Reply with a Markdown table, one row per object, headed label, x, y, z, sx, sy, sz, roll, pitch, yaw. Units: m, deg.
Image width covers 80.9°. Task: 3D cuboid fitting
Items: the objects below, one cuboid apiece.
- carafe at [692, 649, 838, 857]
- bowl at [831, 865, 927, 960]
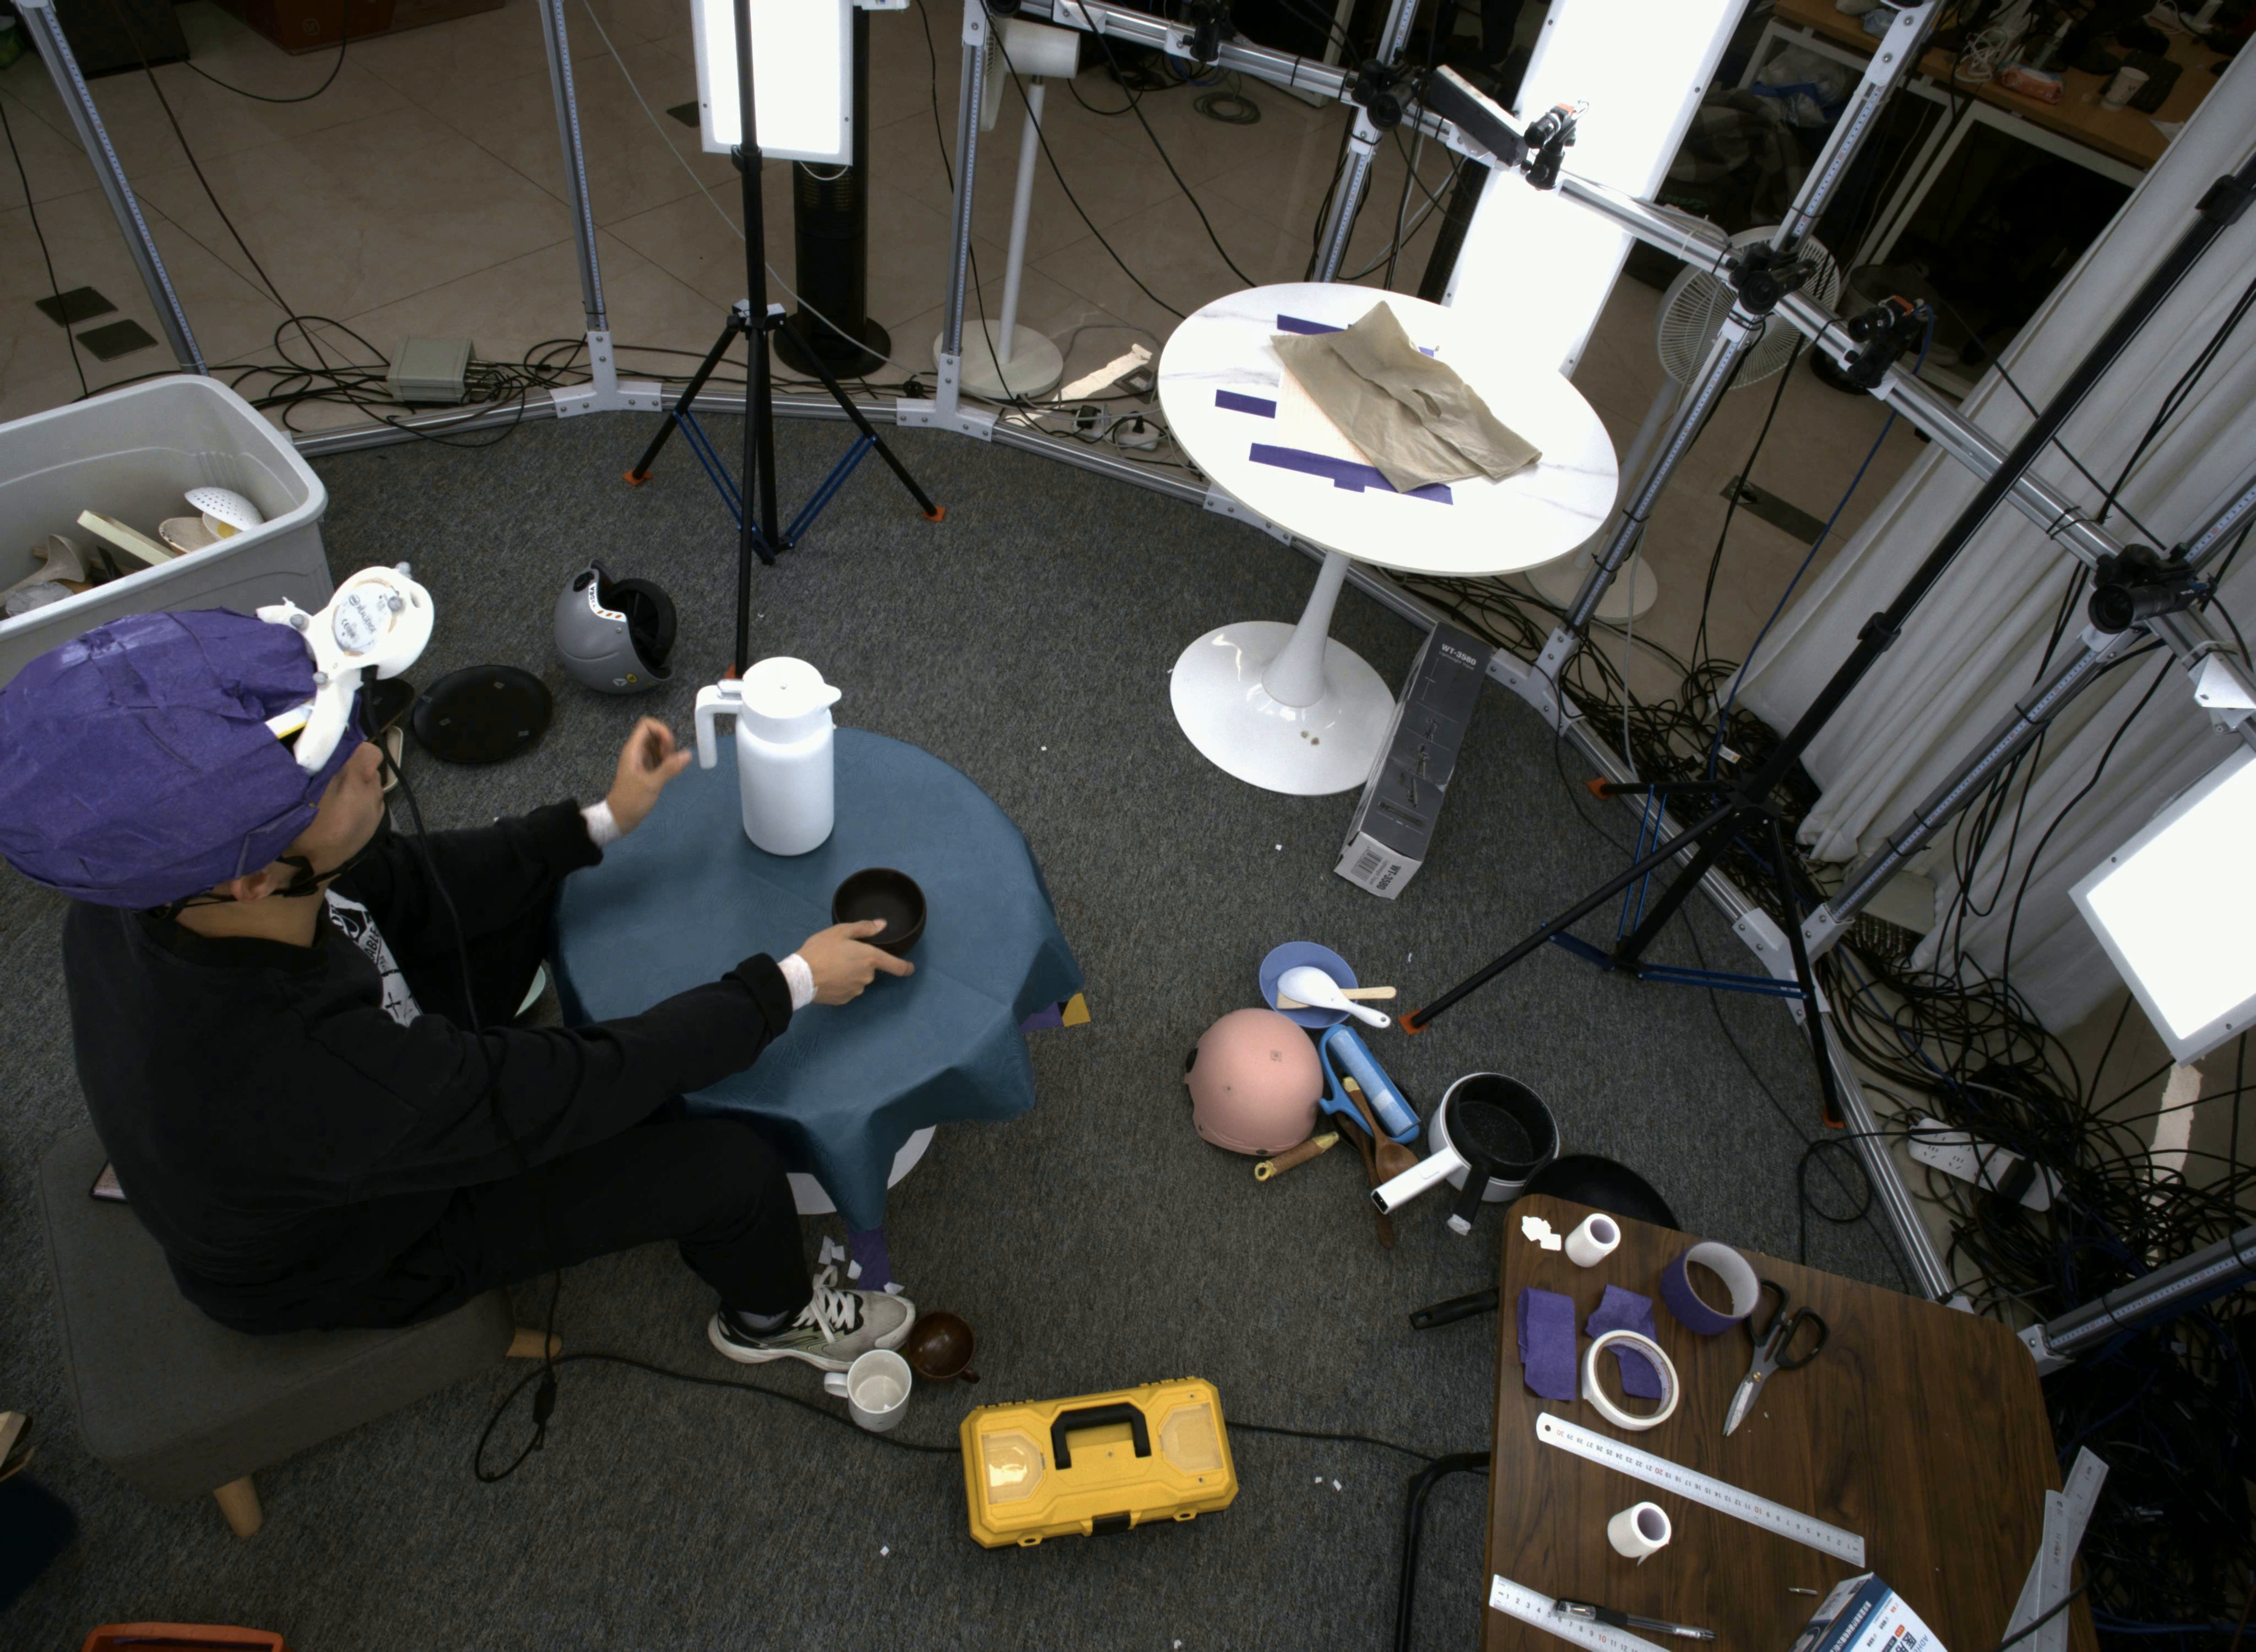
| label | x | y | z | sx | sy | sz | roll | pitch | yaw |
| --- | --- | --- | --- | --- | --- | --- | --- | --- | --- |
| carafe | -0.446 | -0.086 | 1.607 | 0.173 | 0.274 | 0.121 | -1 | 54 | -13 |
| bowl | -0.310 | 0.114 | 1.618 | 0.118 | 0.071 | 0.116 | 7 | 53 | -8 |
